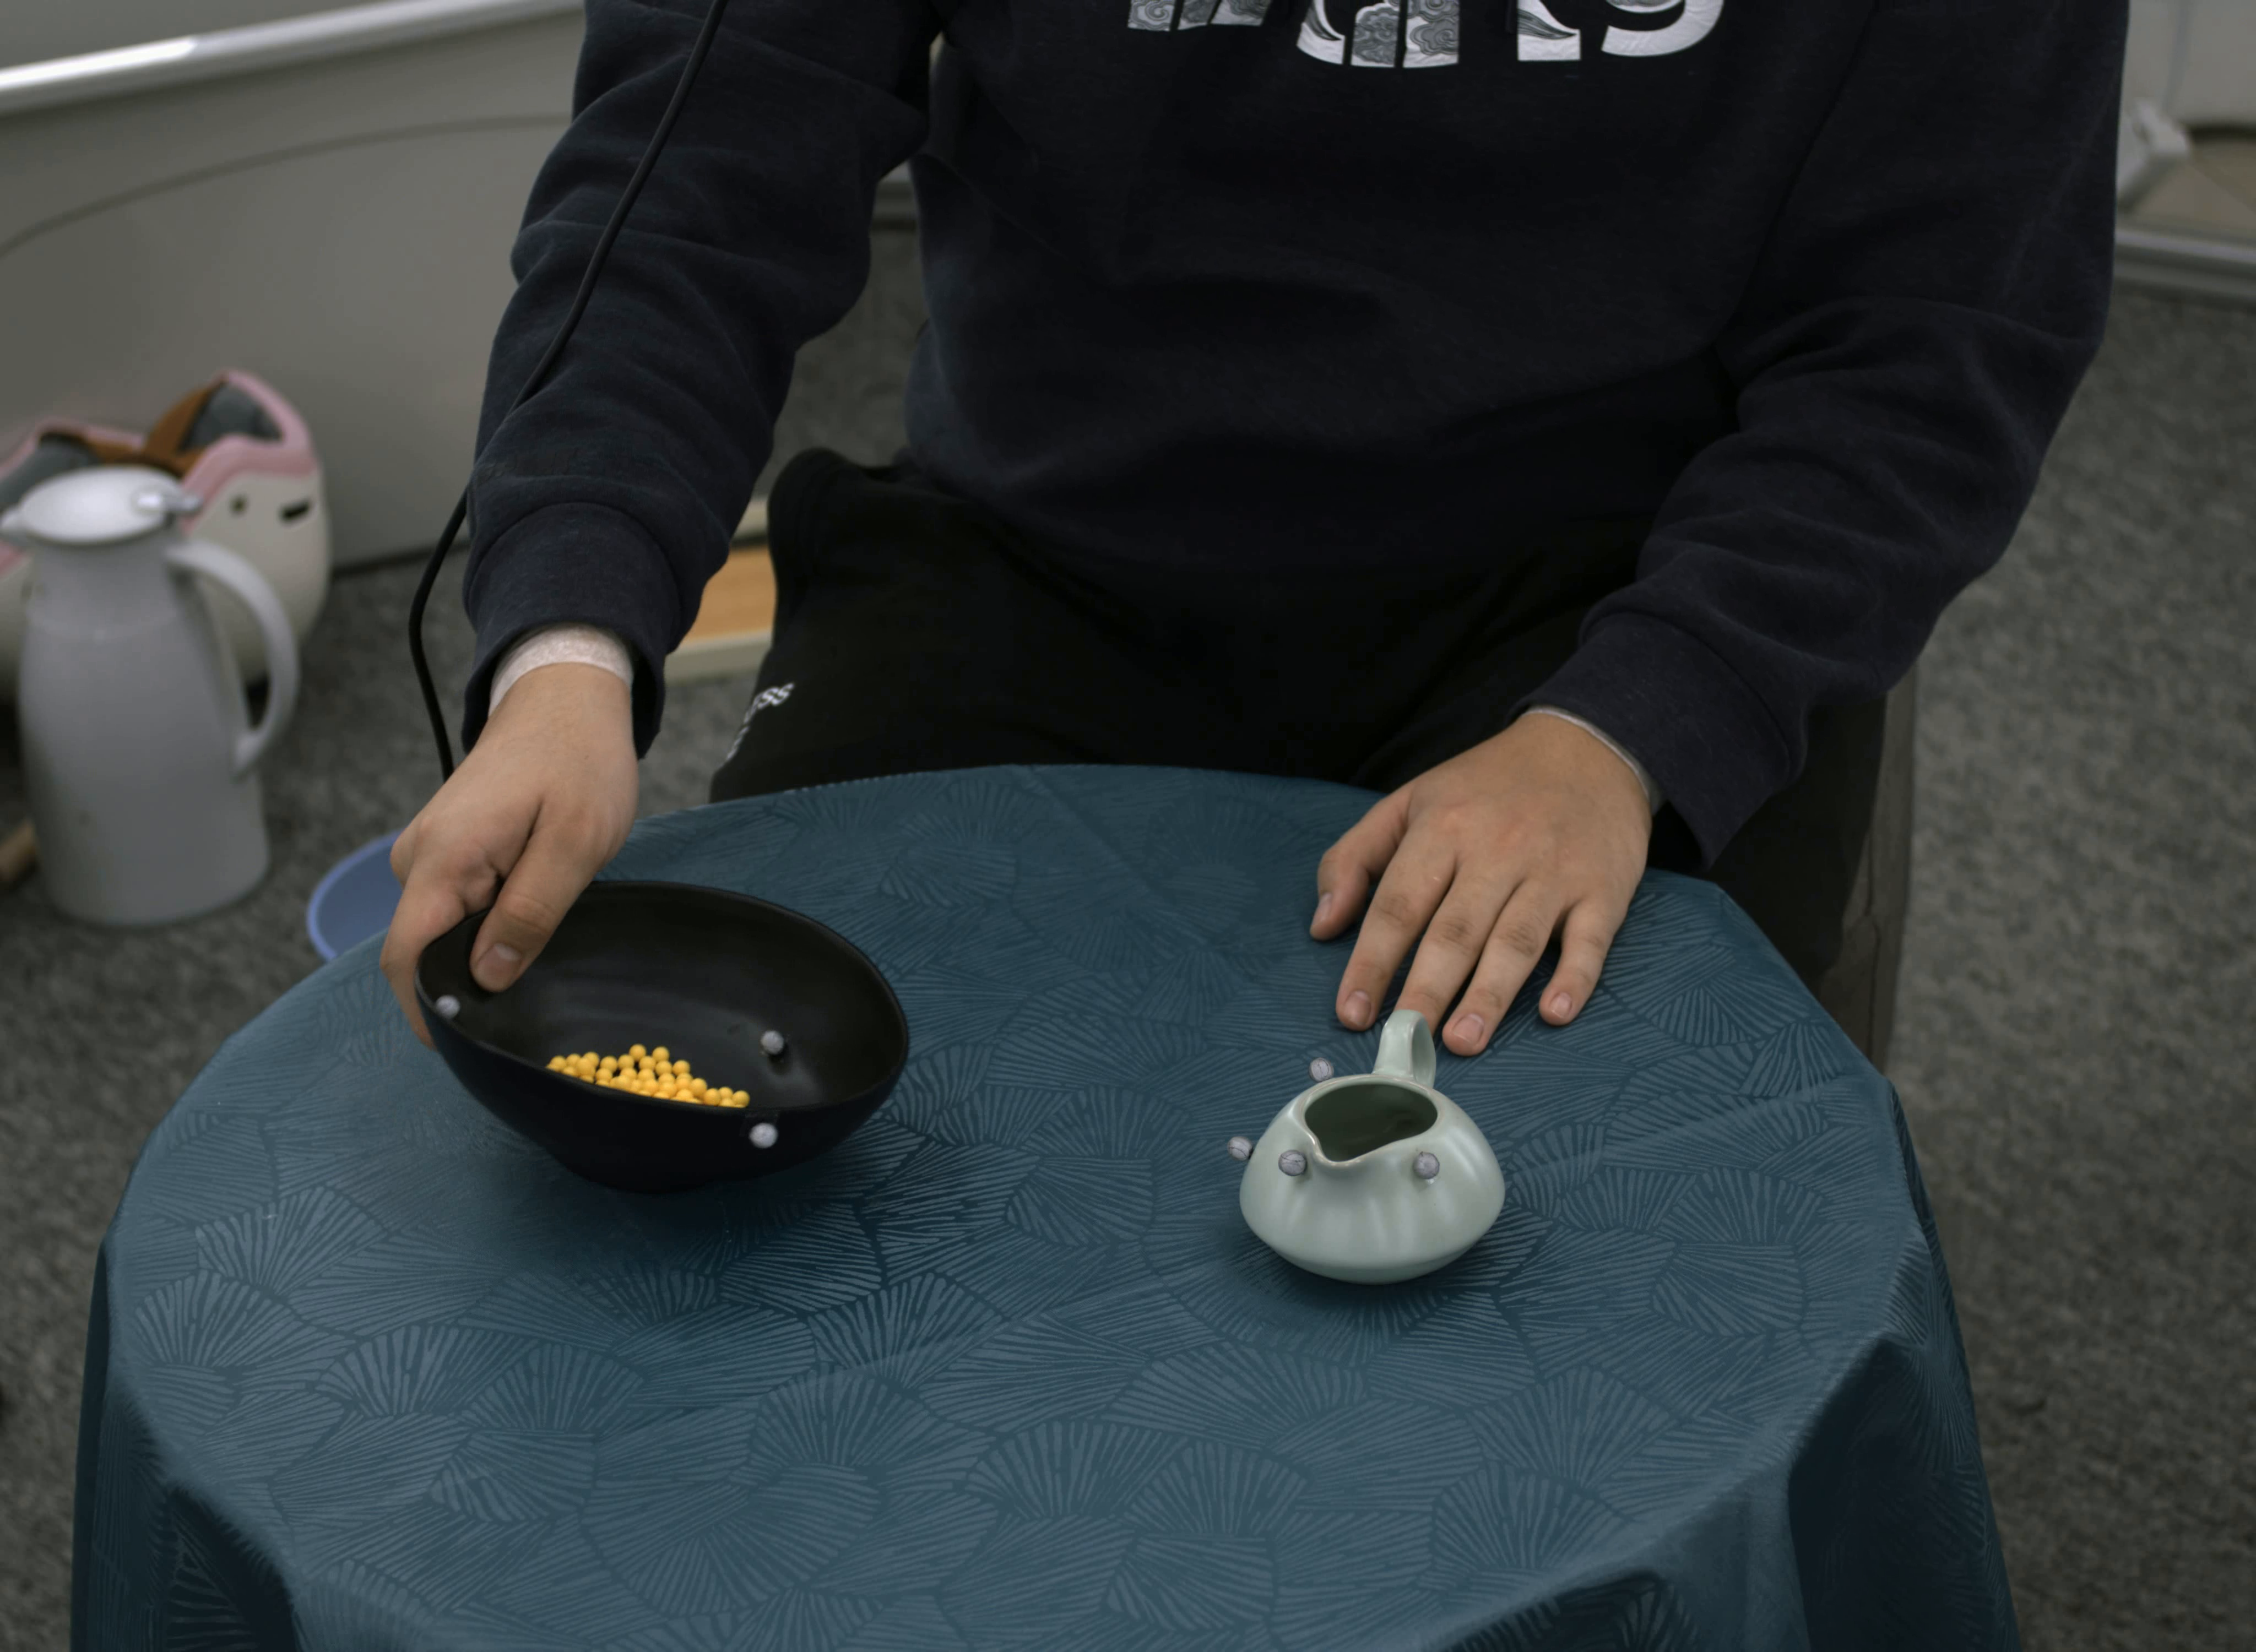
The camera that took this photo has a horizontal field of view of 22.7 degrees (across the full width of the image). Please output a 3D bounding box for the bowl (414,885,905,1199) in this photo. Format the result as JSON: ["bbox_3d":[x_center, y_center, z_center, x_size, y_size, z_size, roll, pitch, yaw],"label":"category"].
[{"bbox_3d":[-0.159,0.082,1.876,0.169,0.066,0.139,14,29,12],"label":"bowl"}]

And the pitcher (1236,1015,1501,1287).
[{"bbox_3d":[0.080,0.107,1.827,0.085,0.060,0.110,5,26,14],"label":"pitcher"}]
